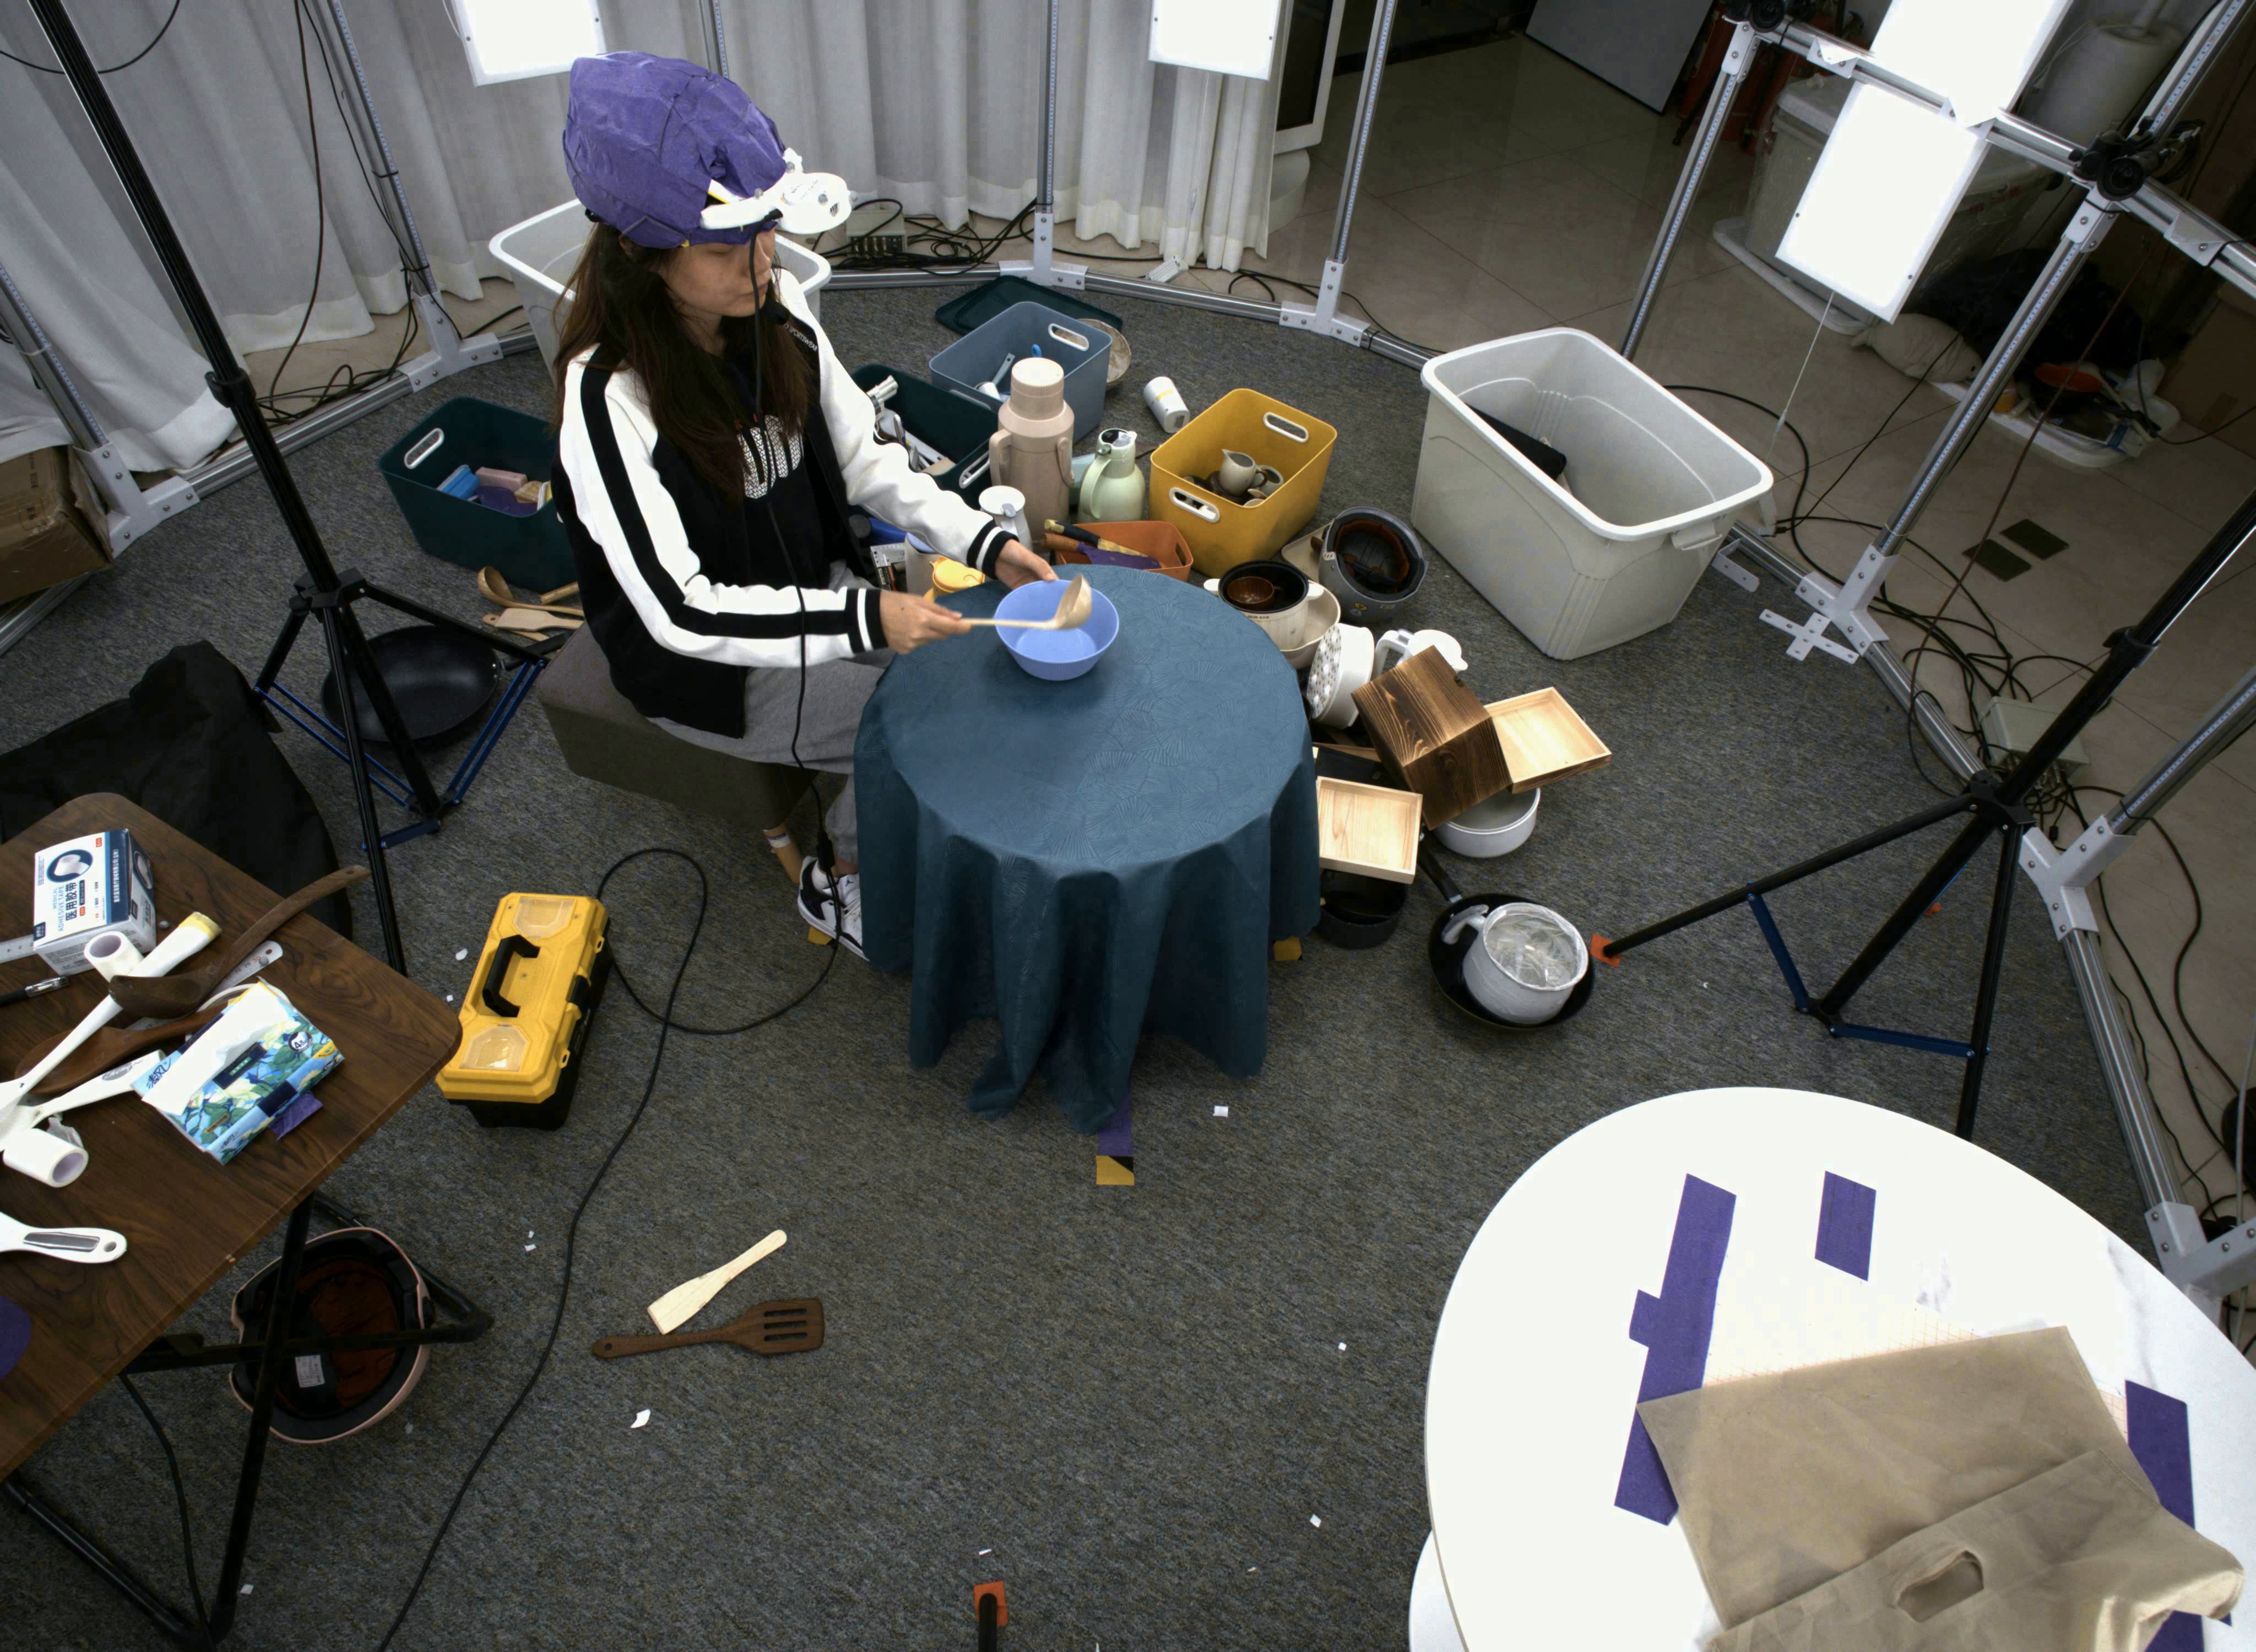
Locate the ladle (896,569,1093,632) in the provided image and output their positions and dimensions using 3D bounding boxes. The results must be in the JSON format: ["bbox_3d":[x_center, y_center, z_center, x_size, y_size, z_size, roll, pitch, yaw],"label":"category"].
[{"bbox_3d":[-0.172,-0.292,1.667,0.254,0.071,0.074,-4,31,-13],"label":"ladle"}]

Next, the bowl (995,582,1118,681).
[{"bbox_3d":[-0.104,-0.272,1.854,0.176,0.068,0.180,2,48,-3],"label":"bowl"}]
